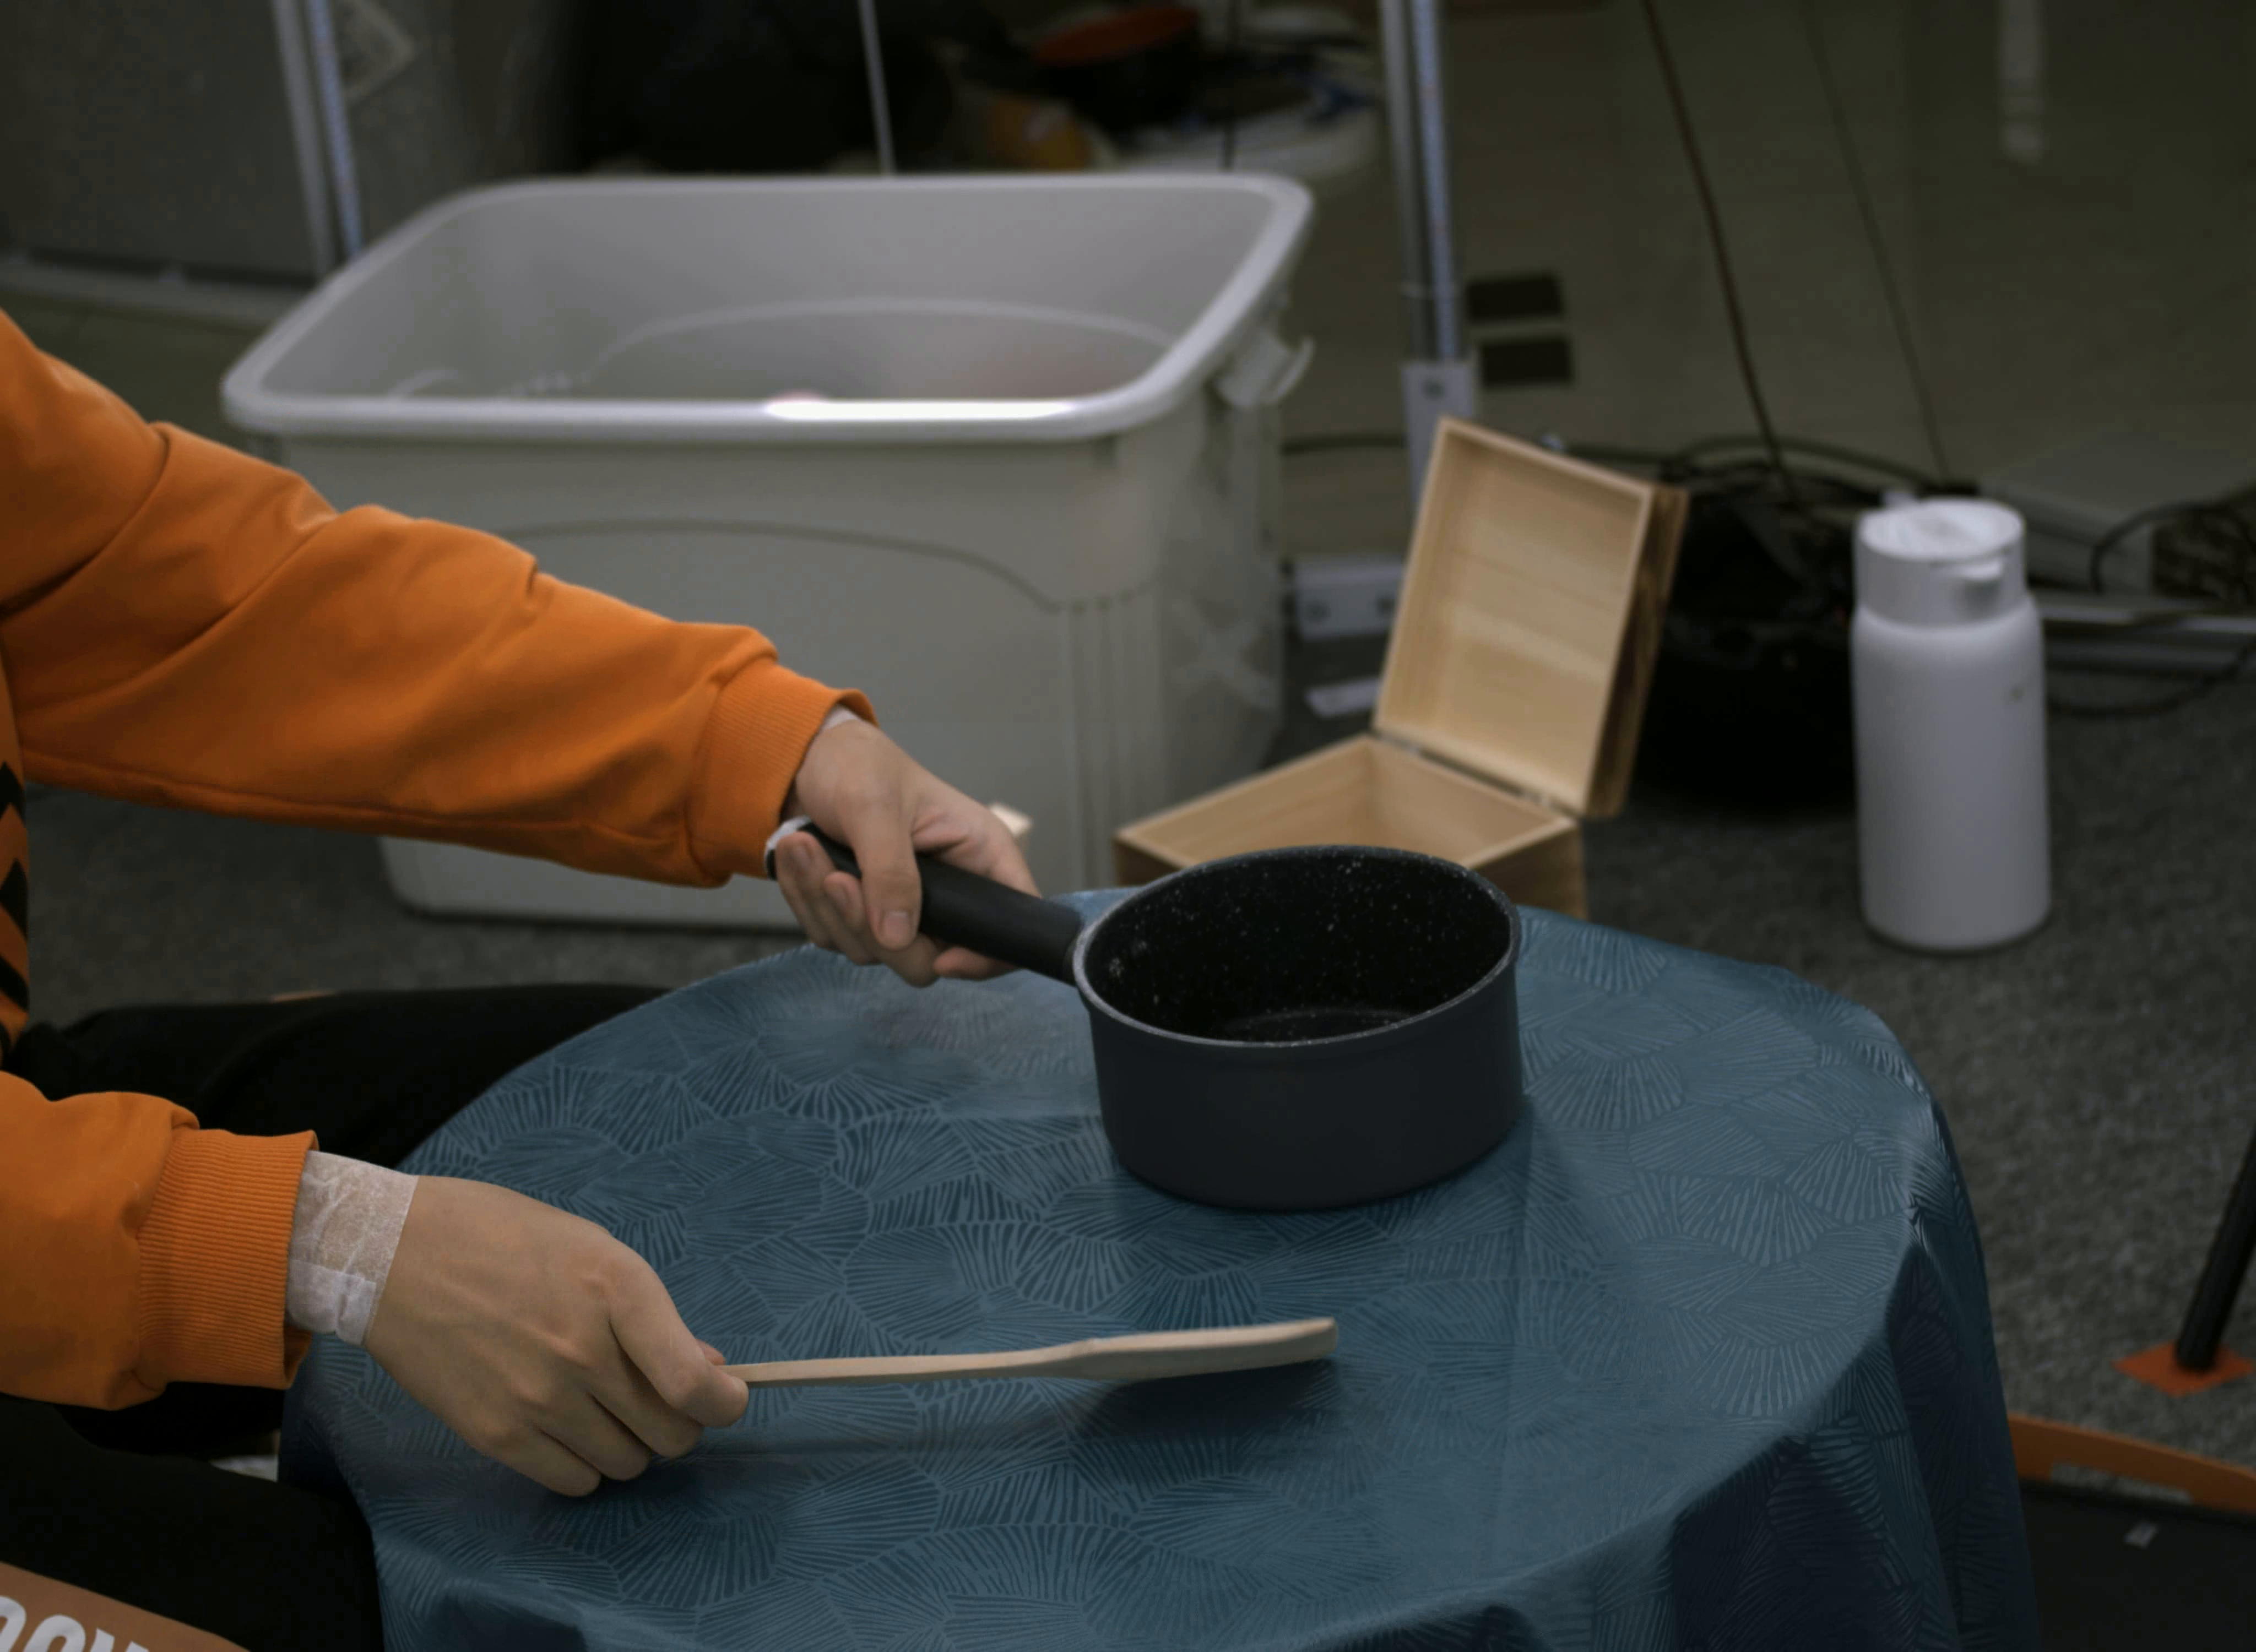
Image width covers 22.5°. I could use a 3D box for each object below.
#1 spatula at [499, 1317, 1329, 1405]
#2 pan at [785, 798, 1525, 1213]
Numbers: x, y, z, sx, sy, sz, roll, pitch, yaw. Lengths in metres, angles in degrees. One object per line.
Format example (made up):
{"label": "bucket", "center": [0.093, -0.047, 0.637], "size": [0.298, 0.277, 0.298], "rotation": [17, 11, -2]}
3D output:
{"label": "spatula", "center": [-0.075, 0.190, 1.989], "size": [0.292, 0.010, 0.073], "rotation": [-4, -13, 1]}
{"label": "pan", "center": [0.003, 0.061, 2.211], "size": [0.327, 0.088, 0.170], "rotation": [13, 31, 33]}
